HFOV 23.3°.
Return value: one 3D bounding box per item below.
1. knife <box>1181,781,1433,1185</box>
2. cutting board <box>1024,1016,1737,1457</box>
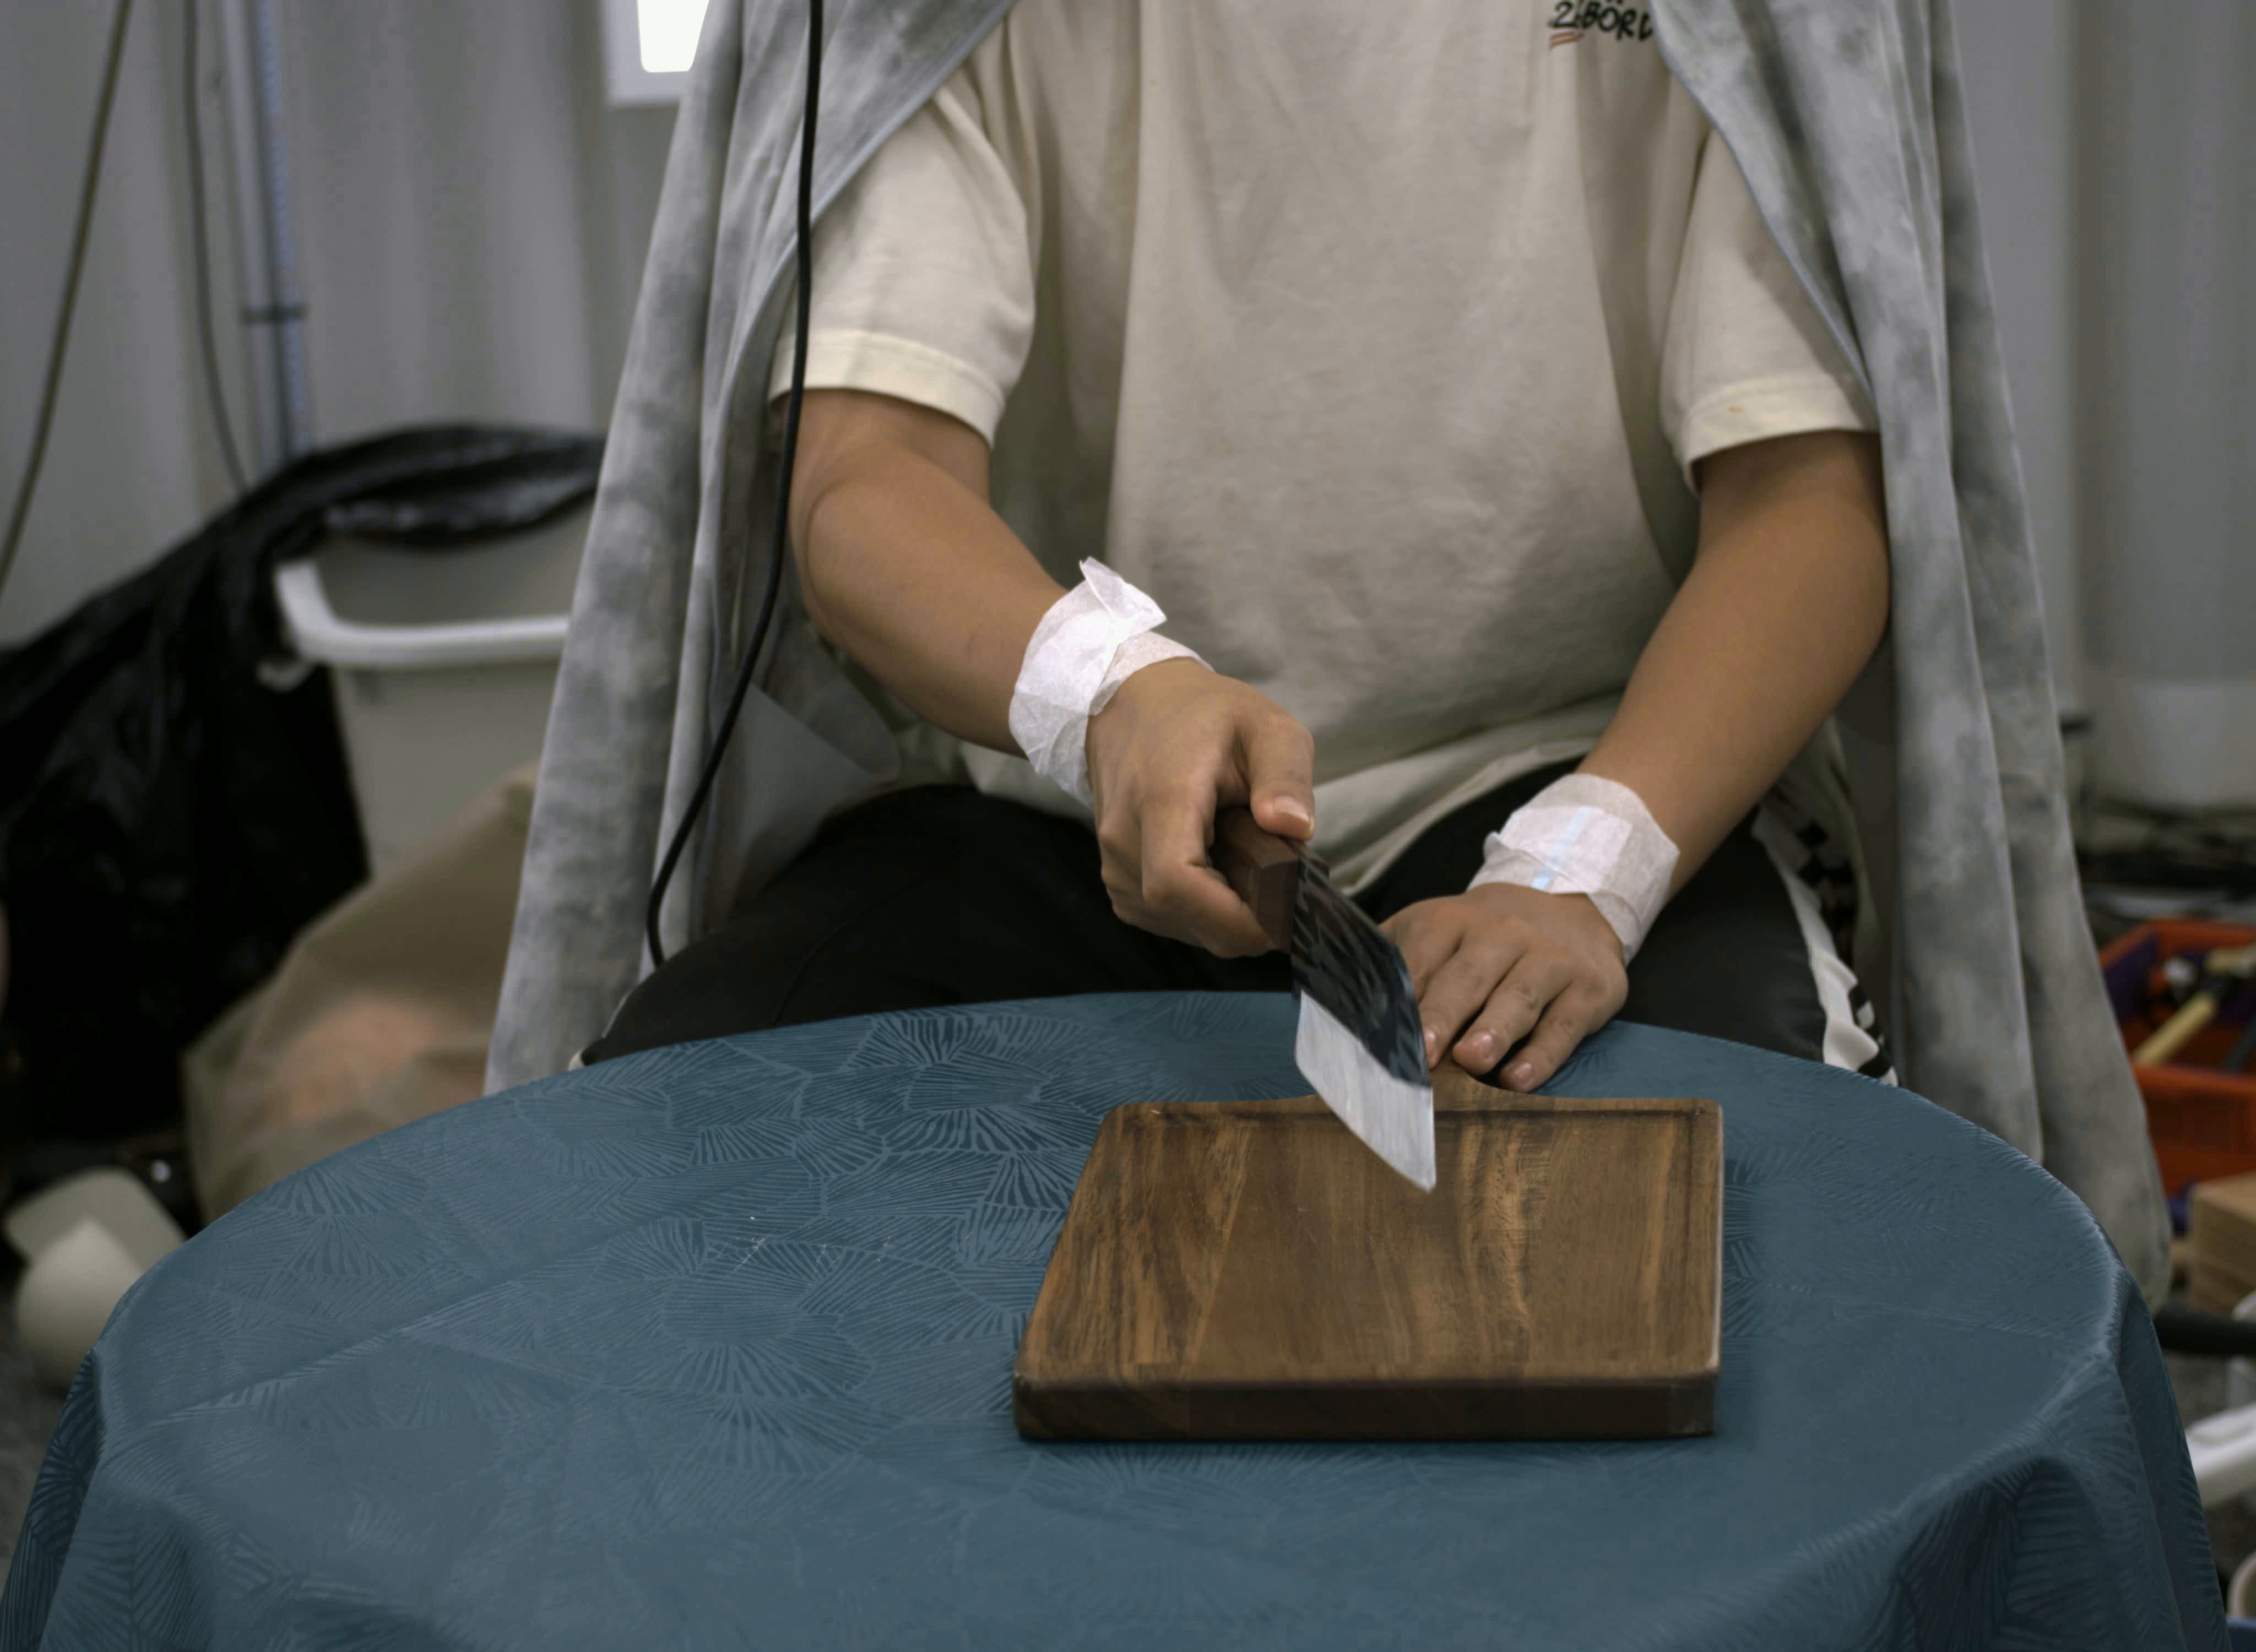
[{"bbox_3d":[0.057,0.045,1.689,0.024,0.068,0.302,0,13,-12],"label":"knife"},{"bbox_3d":[0.083,0.117,1.664,0.200,0.023,0.354,-3,14,7],"label":"cutting board"}]
